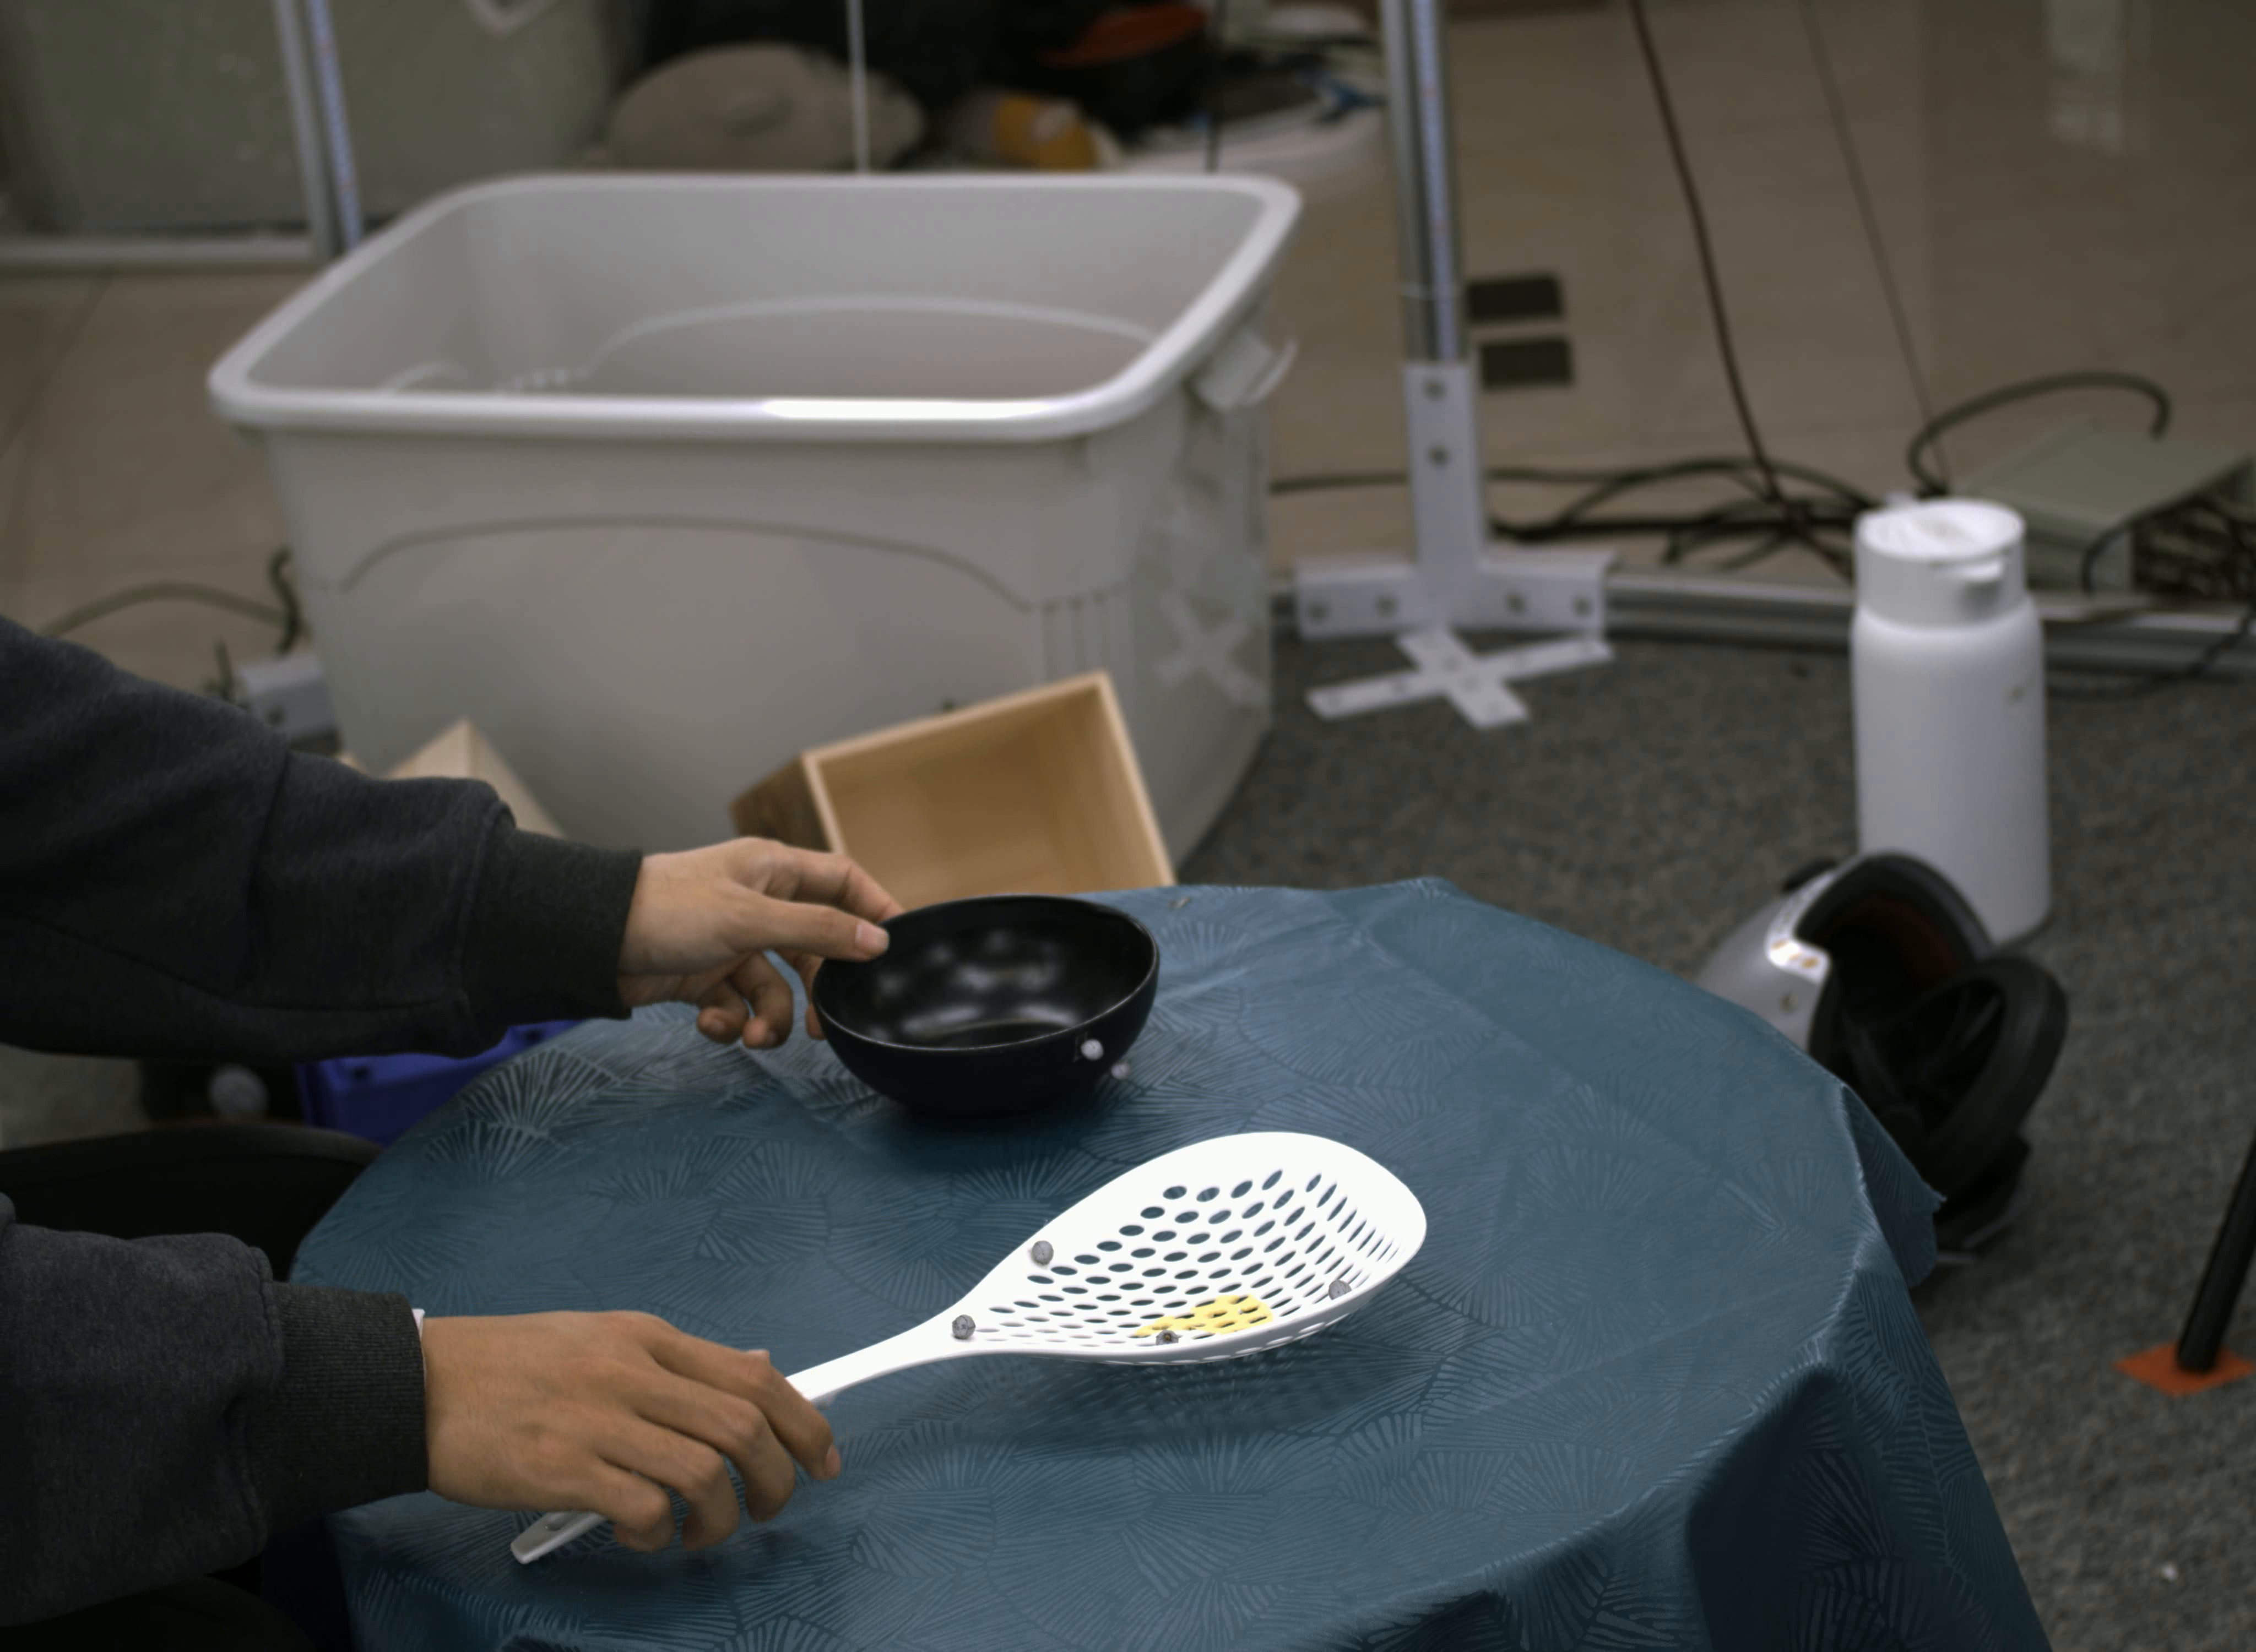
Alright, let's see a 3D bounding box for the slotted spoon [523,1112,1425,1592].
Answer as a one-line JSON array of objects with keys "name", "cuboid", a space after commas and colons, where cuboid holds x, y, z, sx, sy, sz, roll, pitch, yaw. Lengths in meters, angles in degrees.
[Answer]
[{"name": "slotted spoon", "cuboid": [-0.057, 0.189, 2.005, 0.346, 0.051, 0.135, -17, 30, -20]}]
